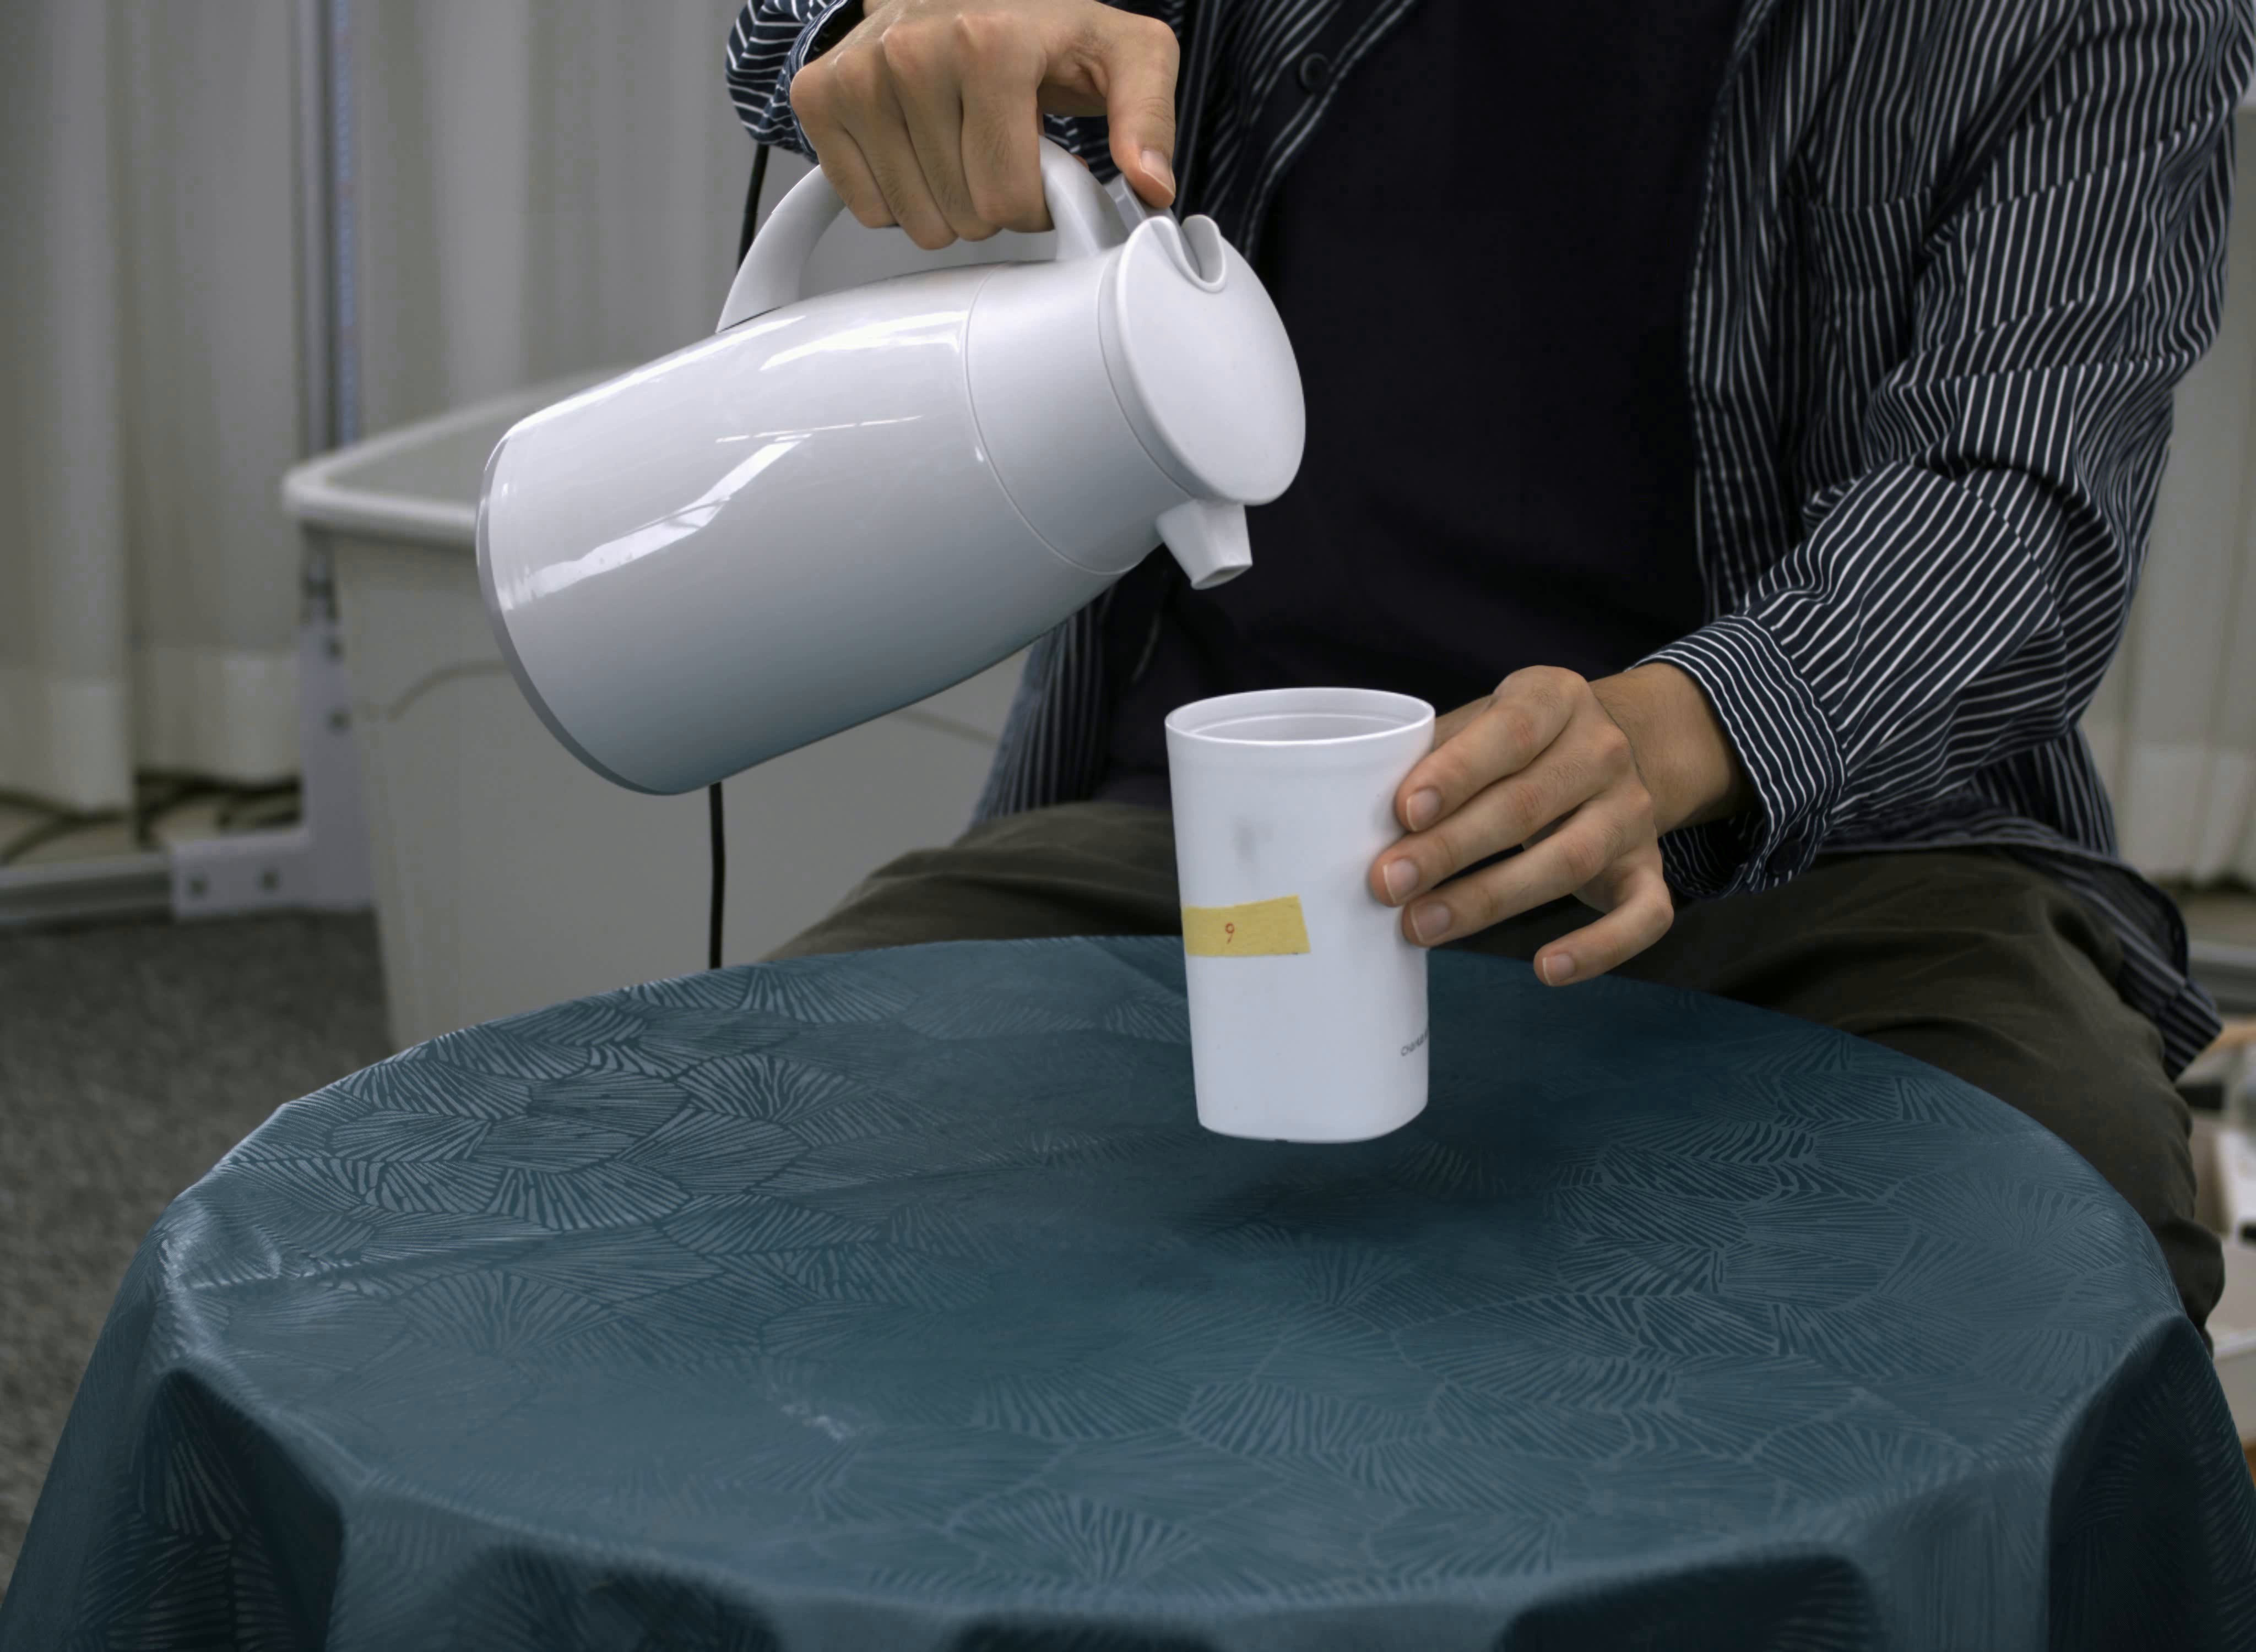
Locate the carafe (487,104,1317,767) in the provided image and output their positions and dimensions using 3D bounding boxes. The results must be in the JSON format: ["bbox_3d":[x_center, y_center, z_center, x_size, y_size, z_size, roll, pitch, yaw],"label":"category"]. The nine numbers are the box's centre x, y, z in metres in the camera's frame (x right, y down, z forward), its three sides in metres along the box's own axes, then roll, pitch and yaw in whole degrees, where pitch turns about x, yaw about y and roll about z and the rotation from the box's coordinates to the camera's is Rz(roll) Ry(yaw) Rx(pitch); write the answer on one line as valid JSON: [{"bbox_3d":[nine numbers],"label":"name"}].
[{"bbox_3d":[-0.069,-0.129,1.615,0.246,0.168,0.133,-16,2,34],"label":"carafe"}]

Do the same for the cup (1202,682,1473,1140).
[{"bbox_3d":[0.065,0.026,1.585,0.081,0.126,0.081,-2,13,1],"label":"cup"}]
